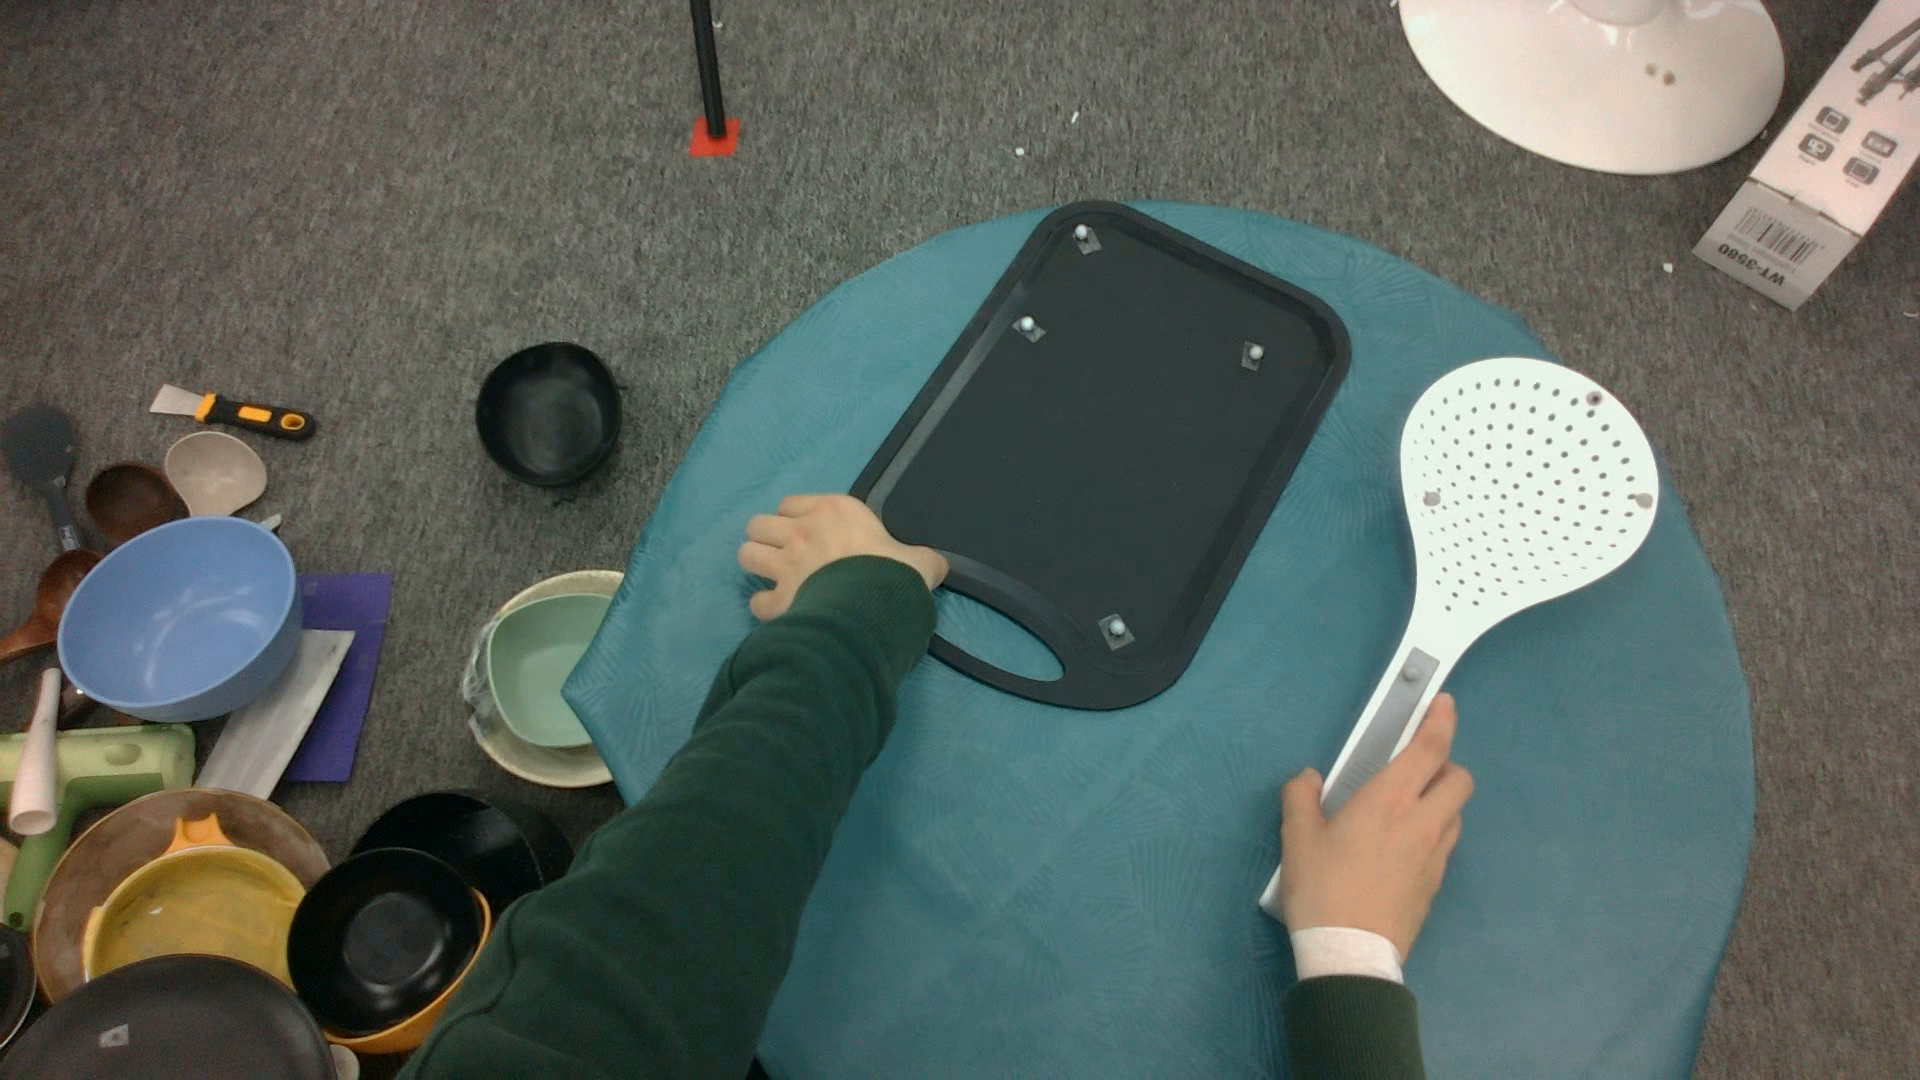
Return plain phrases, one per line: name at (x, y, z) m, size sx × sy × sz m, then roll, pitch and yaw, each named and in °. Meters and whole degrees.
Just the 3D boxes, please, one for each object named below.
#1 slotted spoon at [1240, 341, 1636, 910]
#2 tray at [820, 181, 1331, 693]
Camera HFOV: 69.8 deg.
slotted spoon at (0.242, 0.038, 0.722) m, size 0.136 × 0.045 × 0.351 m, roll 31°, pitch 66°, yaw 11°
tray at (0.069, -0.067, 0.784) m, size 0.211 × 0.010 × 0.327 m, roll 28°, pitch 65°, yaw 10°
